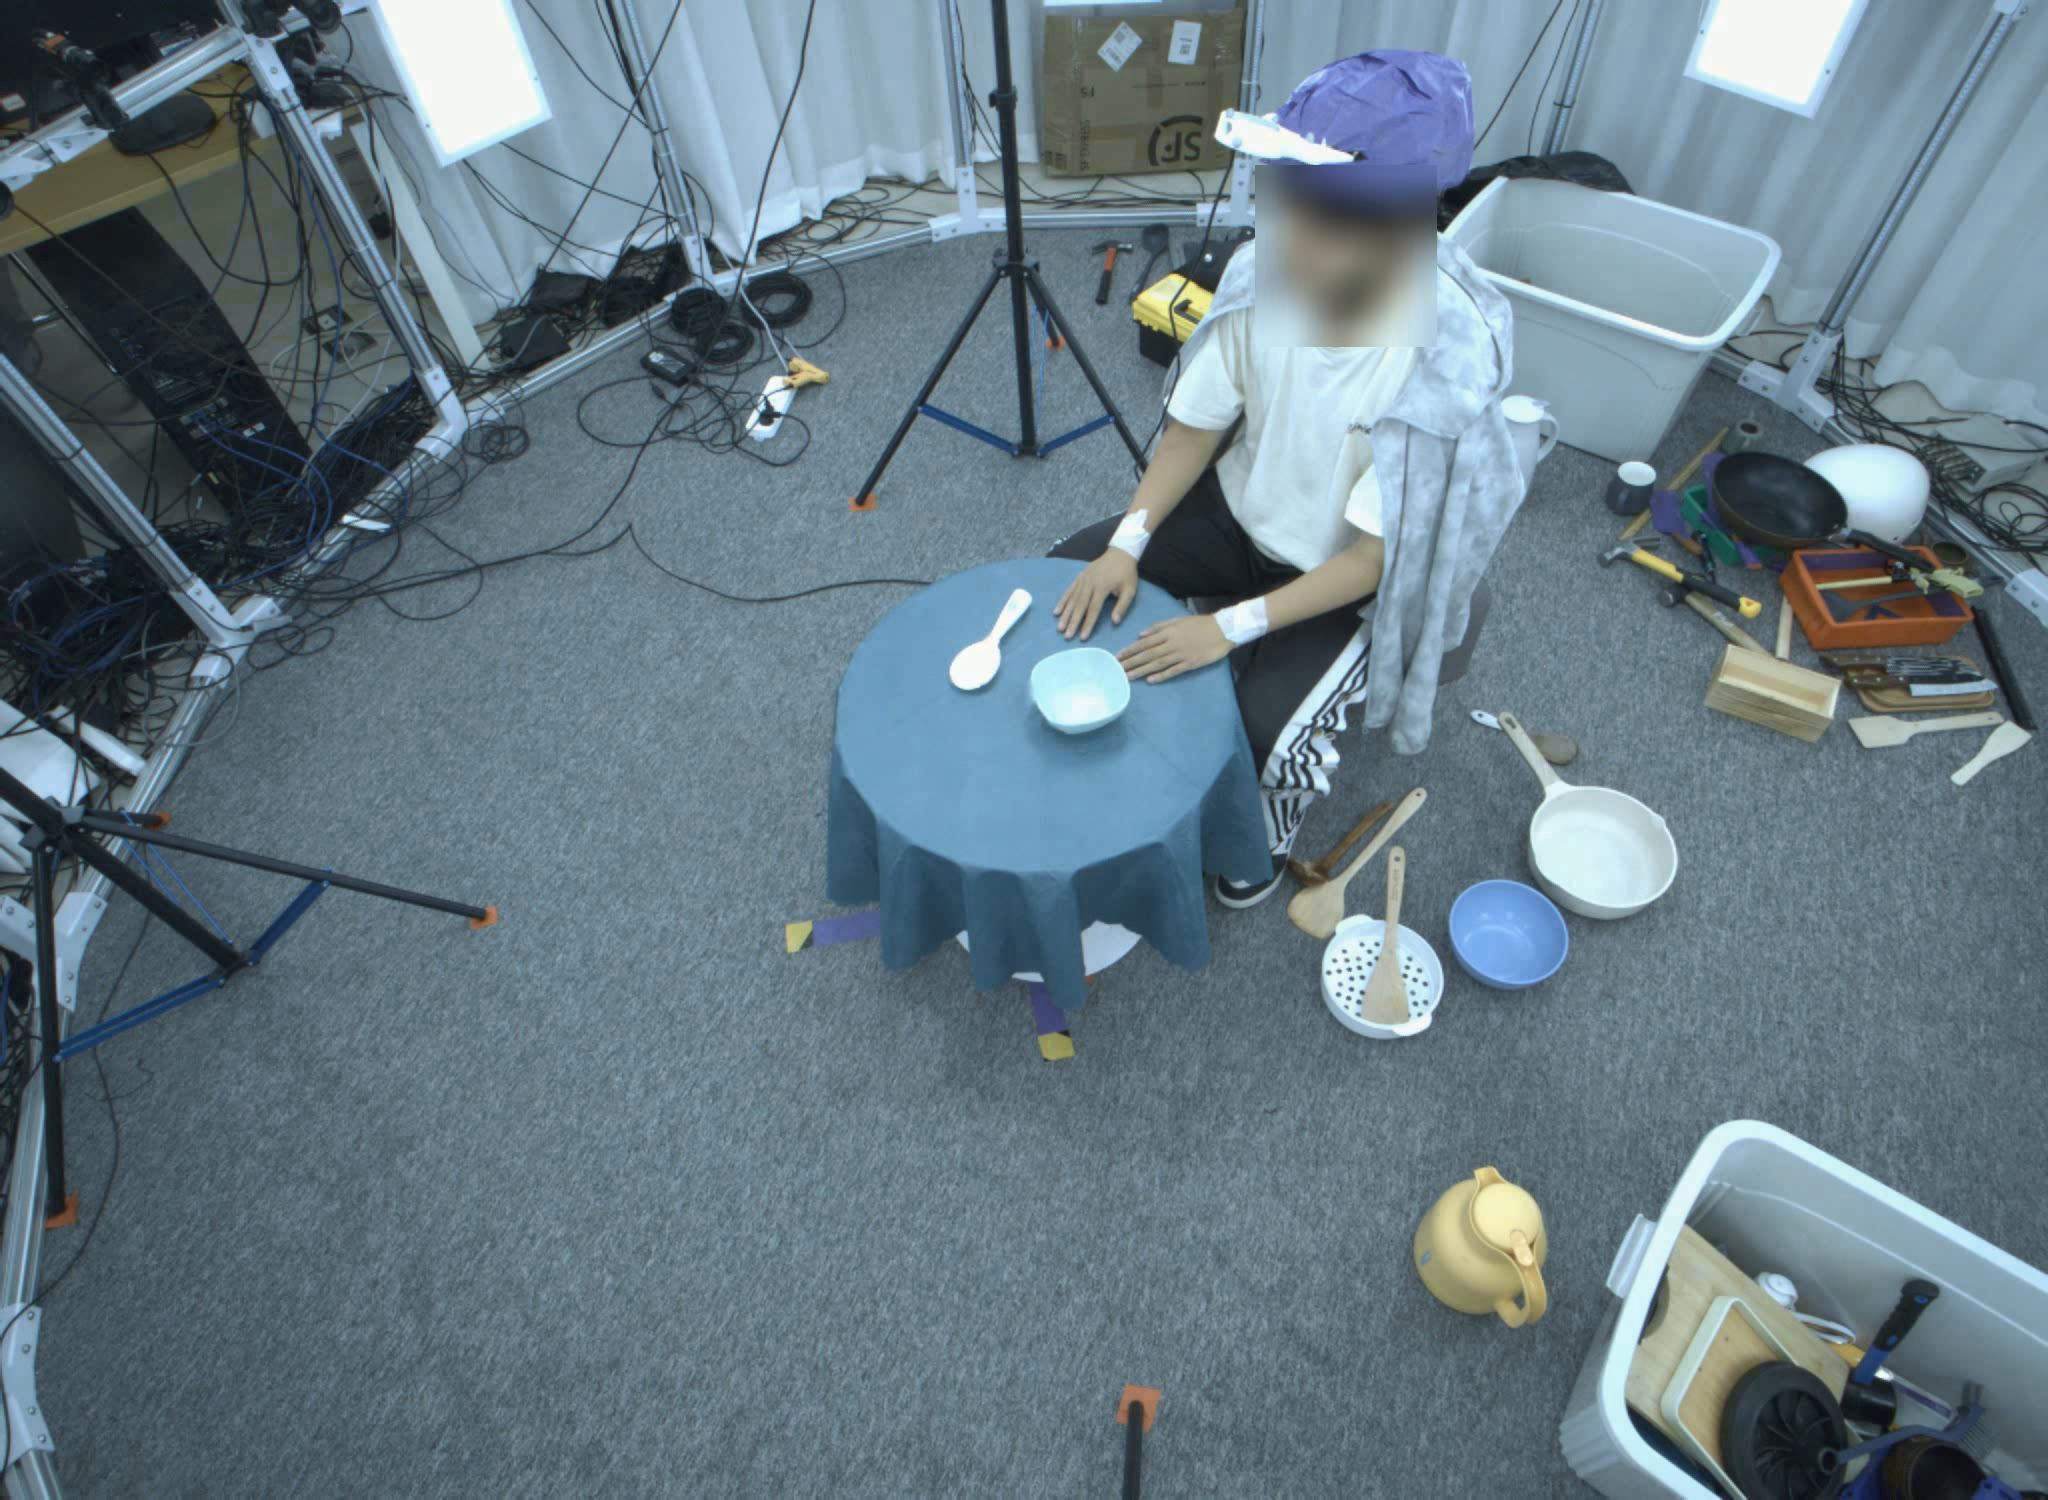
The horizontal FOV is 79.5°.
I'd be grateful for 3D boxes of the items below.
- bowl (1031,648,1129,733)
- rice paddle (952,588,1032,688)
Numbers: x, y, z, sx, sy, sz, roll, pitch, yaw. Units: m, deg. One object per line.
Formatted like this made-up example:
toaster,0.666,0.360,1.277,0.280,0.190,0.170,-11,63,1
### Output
bowl,0.083,-0.078,1.807,0.151,0.059,0.150,-2,55,4
rice paddle,-0.046,-0.171,1.894,0.068,0.030,0.205,20,58,18
